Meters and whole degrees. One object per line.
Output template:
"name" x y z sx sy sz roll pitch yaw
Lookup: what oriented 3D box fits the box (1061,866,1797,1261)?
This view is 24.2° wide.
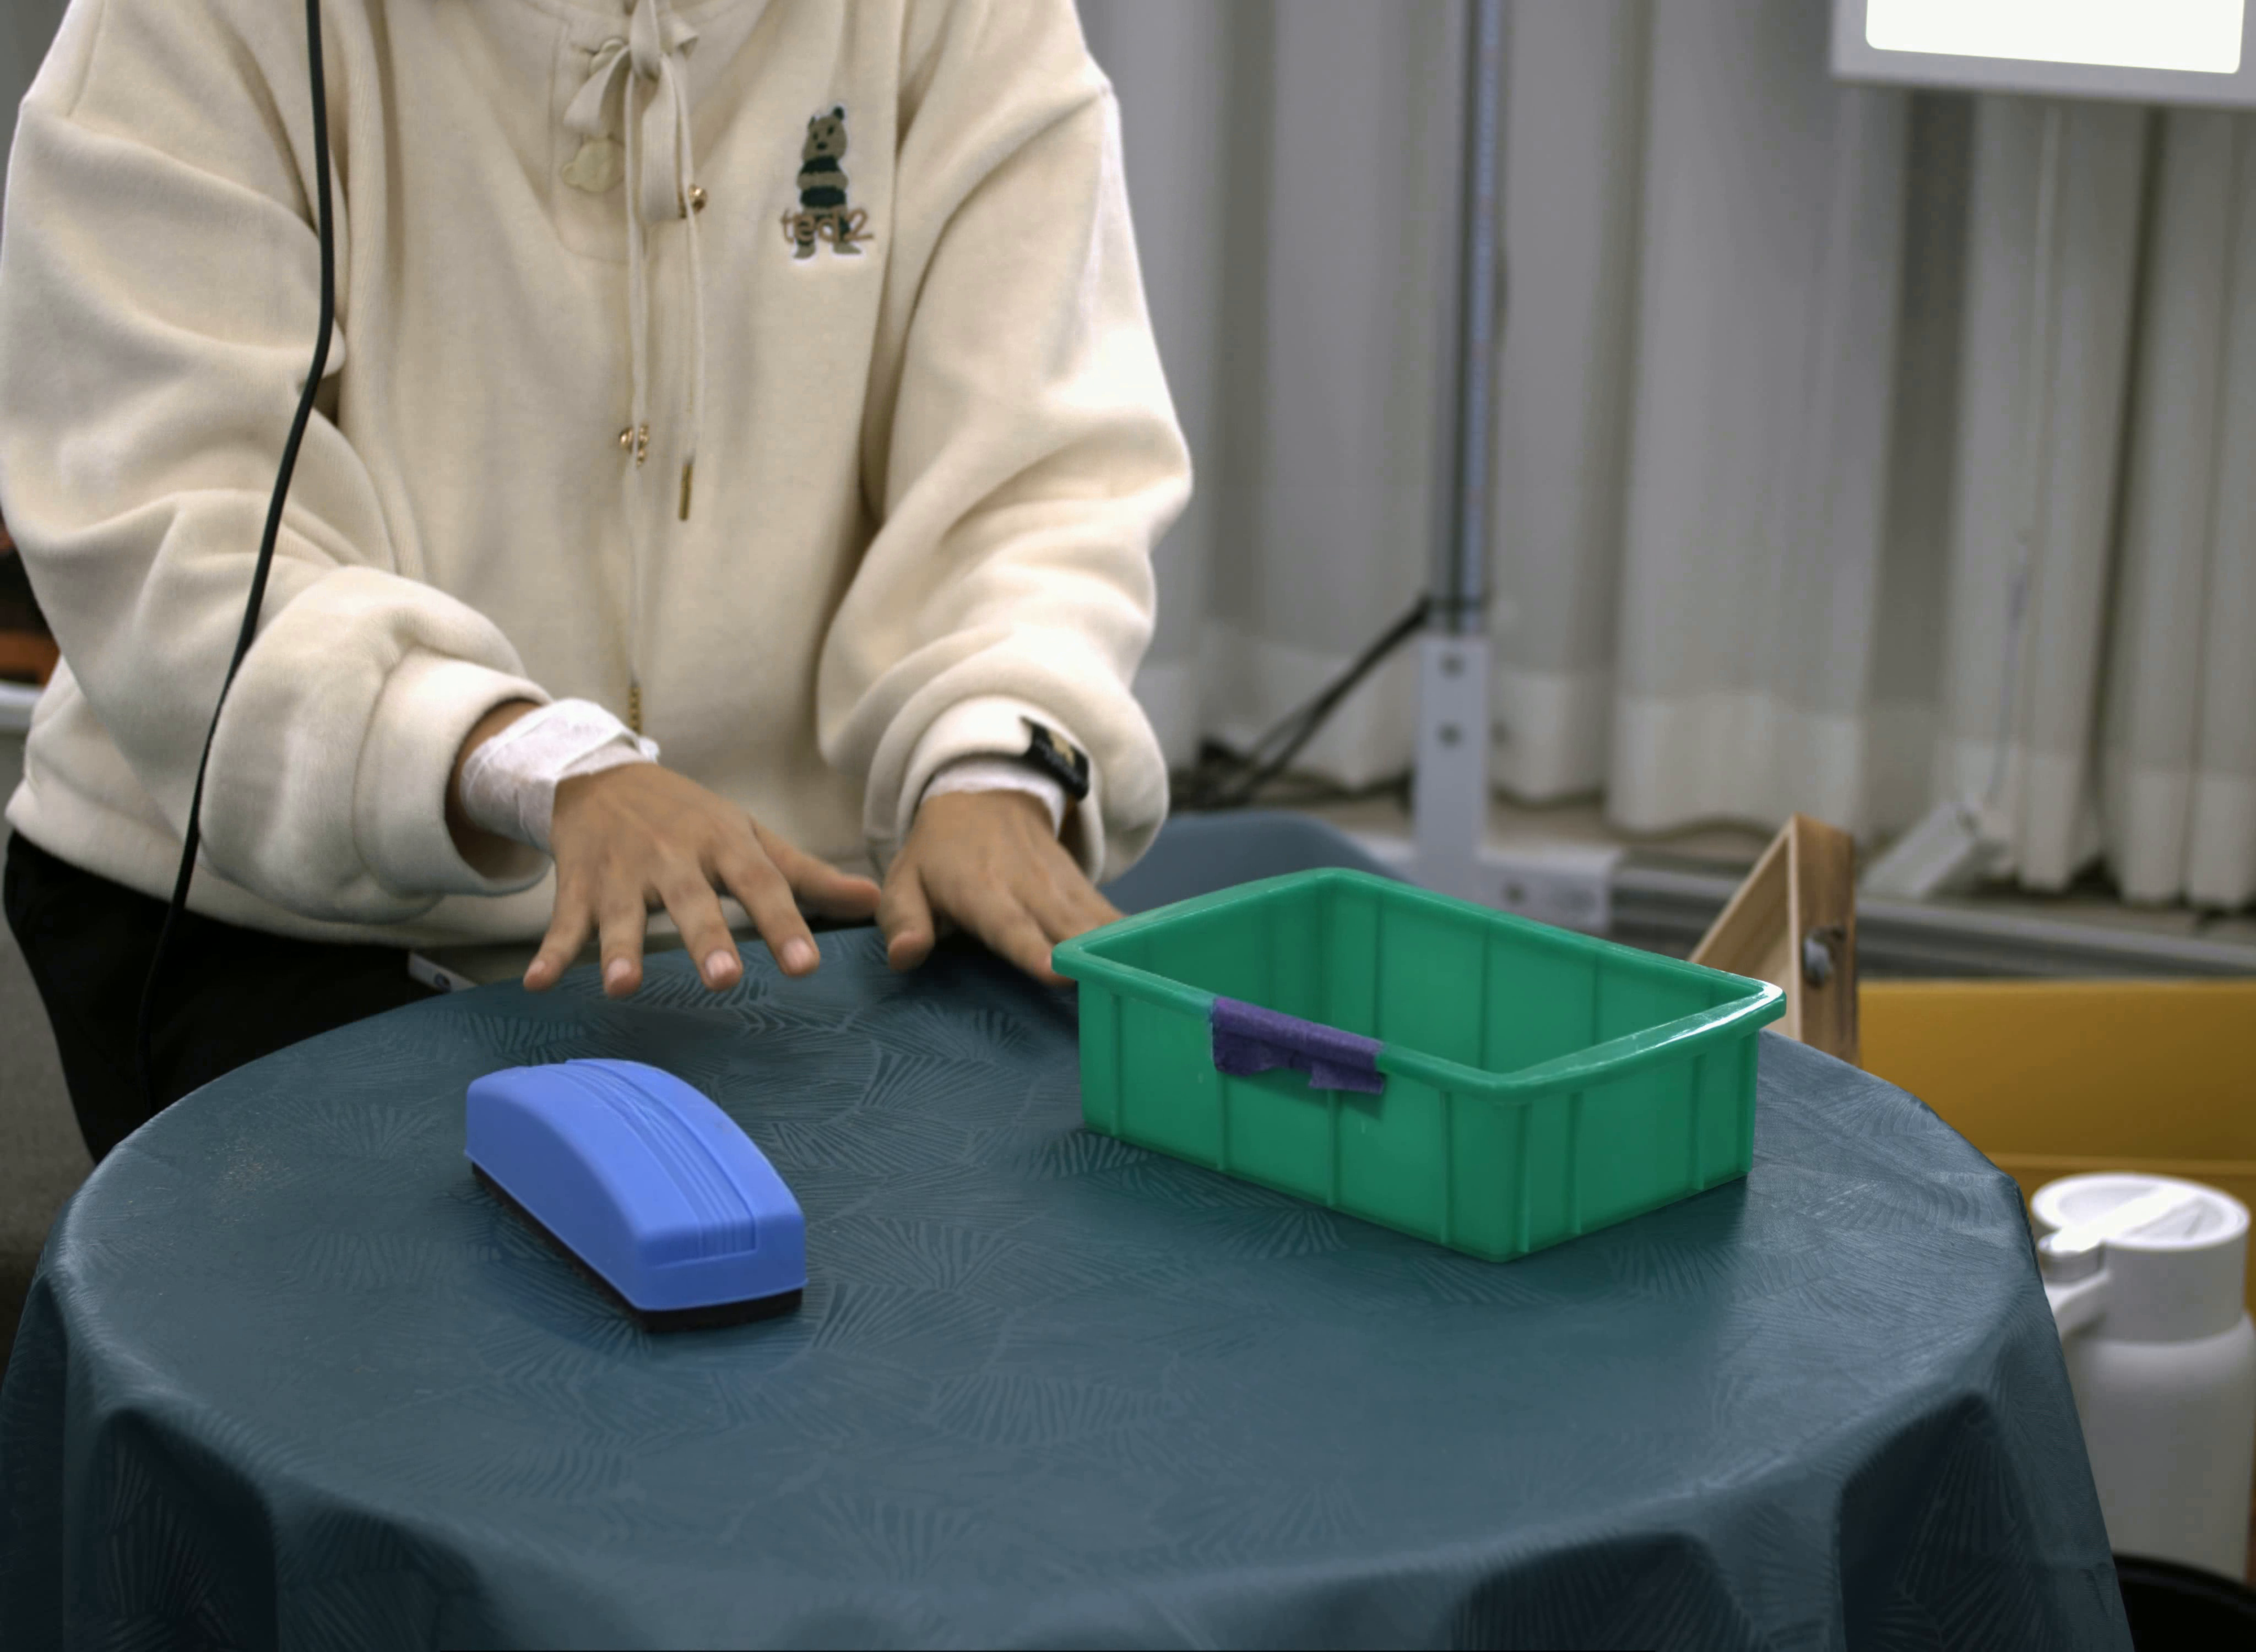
"box" 0.093 0.073 1.650 0.207 0.066 0.139 15 24 41

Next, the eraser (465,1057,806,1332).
"eraser" -0.148 0.102 1.565 0.054 0.048 0.160 -7 18 -25
